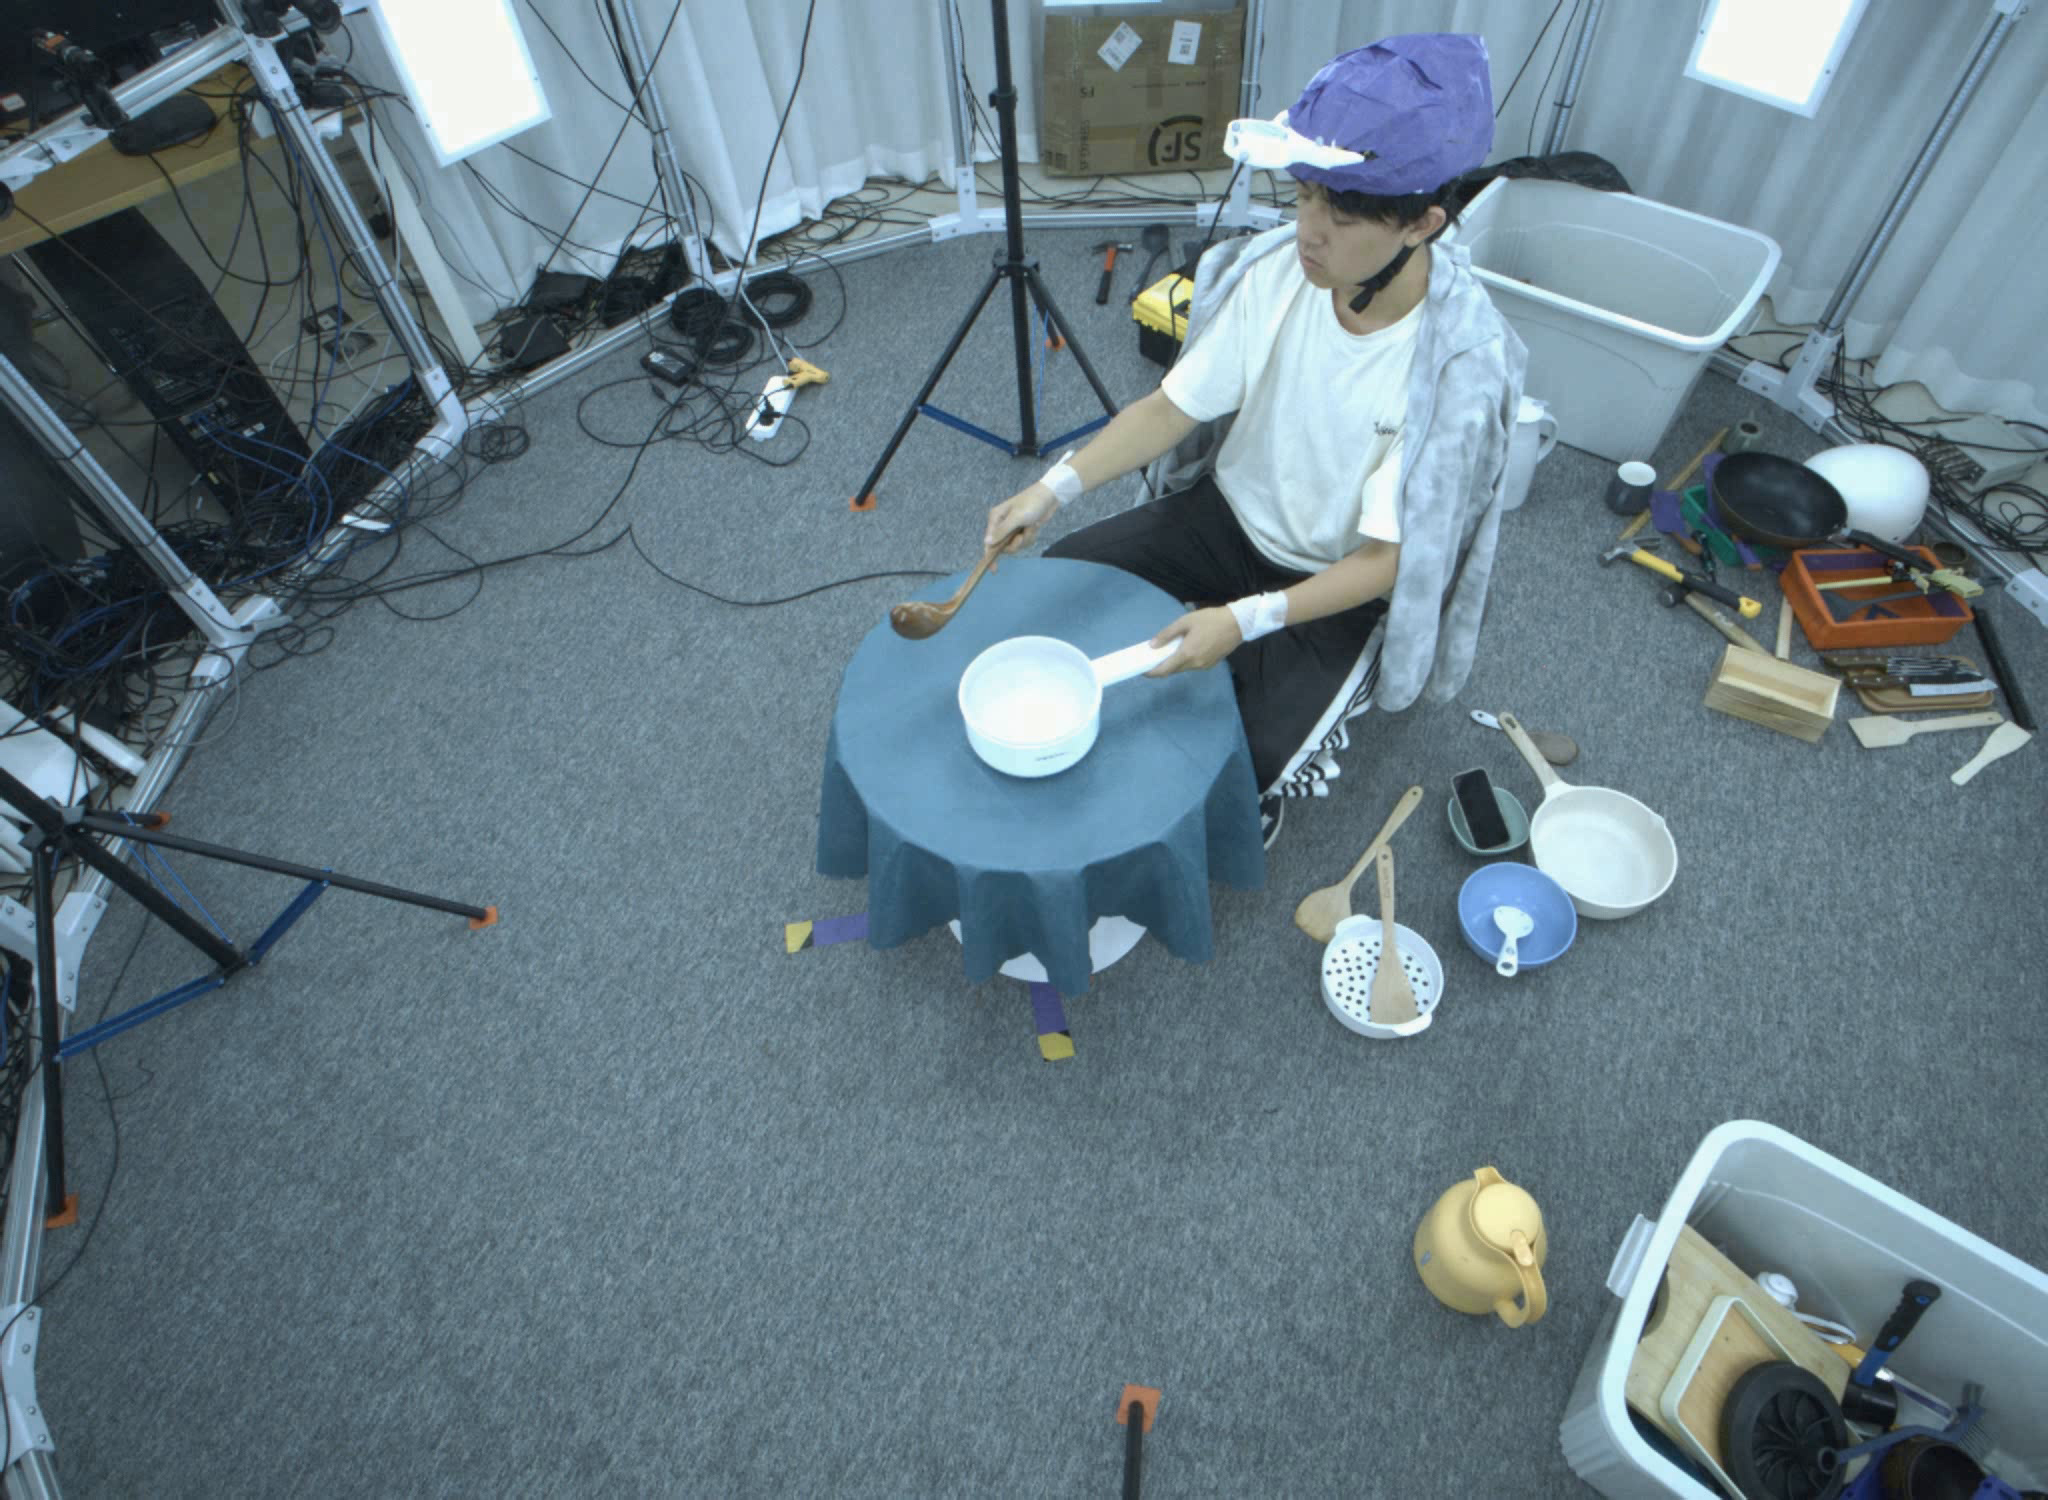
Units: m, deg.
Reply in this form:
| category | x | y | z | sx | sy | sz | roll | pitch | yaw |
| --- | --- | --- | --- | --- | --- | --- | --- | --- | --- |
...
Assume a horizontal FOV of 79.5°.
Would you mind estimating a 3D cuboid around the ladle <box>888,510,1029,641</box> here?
| category | x | y | z | sx | sy | sz | roll | pitch | yaw |
| --- | --- | --- | --- | --- | --- | --- | --- | --- | --- |
| ladle | -0.098 | -0.264 | 1.790 | 0.076 | 0.082 | 0.274 | 32 | 69 | 6 |

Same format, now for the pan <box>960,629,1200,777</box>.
| category | x | y | z | sx | sy | sz | roll | pitch | yaw |
| --- | --- | --- | --- | --- | --- | --- | --- | --- | --- |
| pan | 0.084 | -0.082 | 1.784 | 0.357 | 0.103 | 0.197 | -19 | 56 | -12 |
